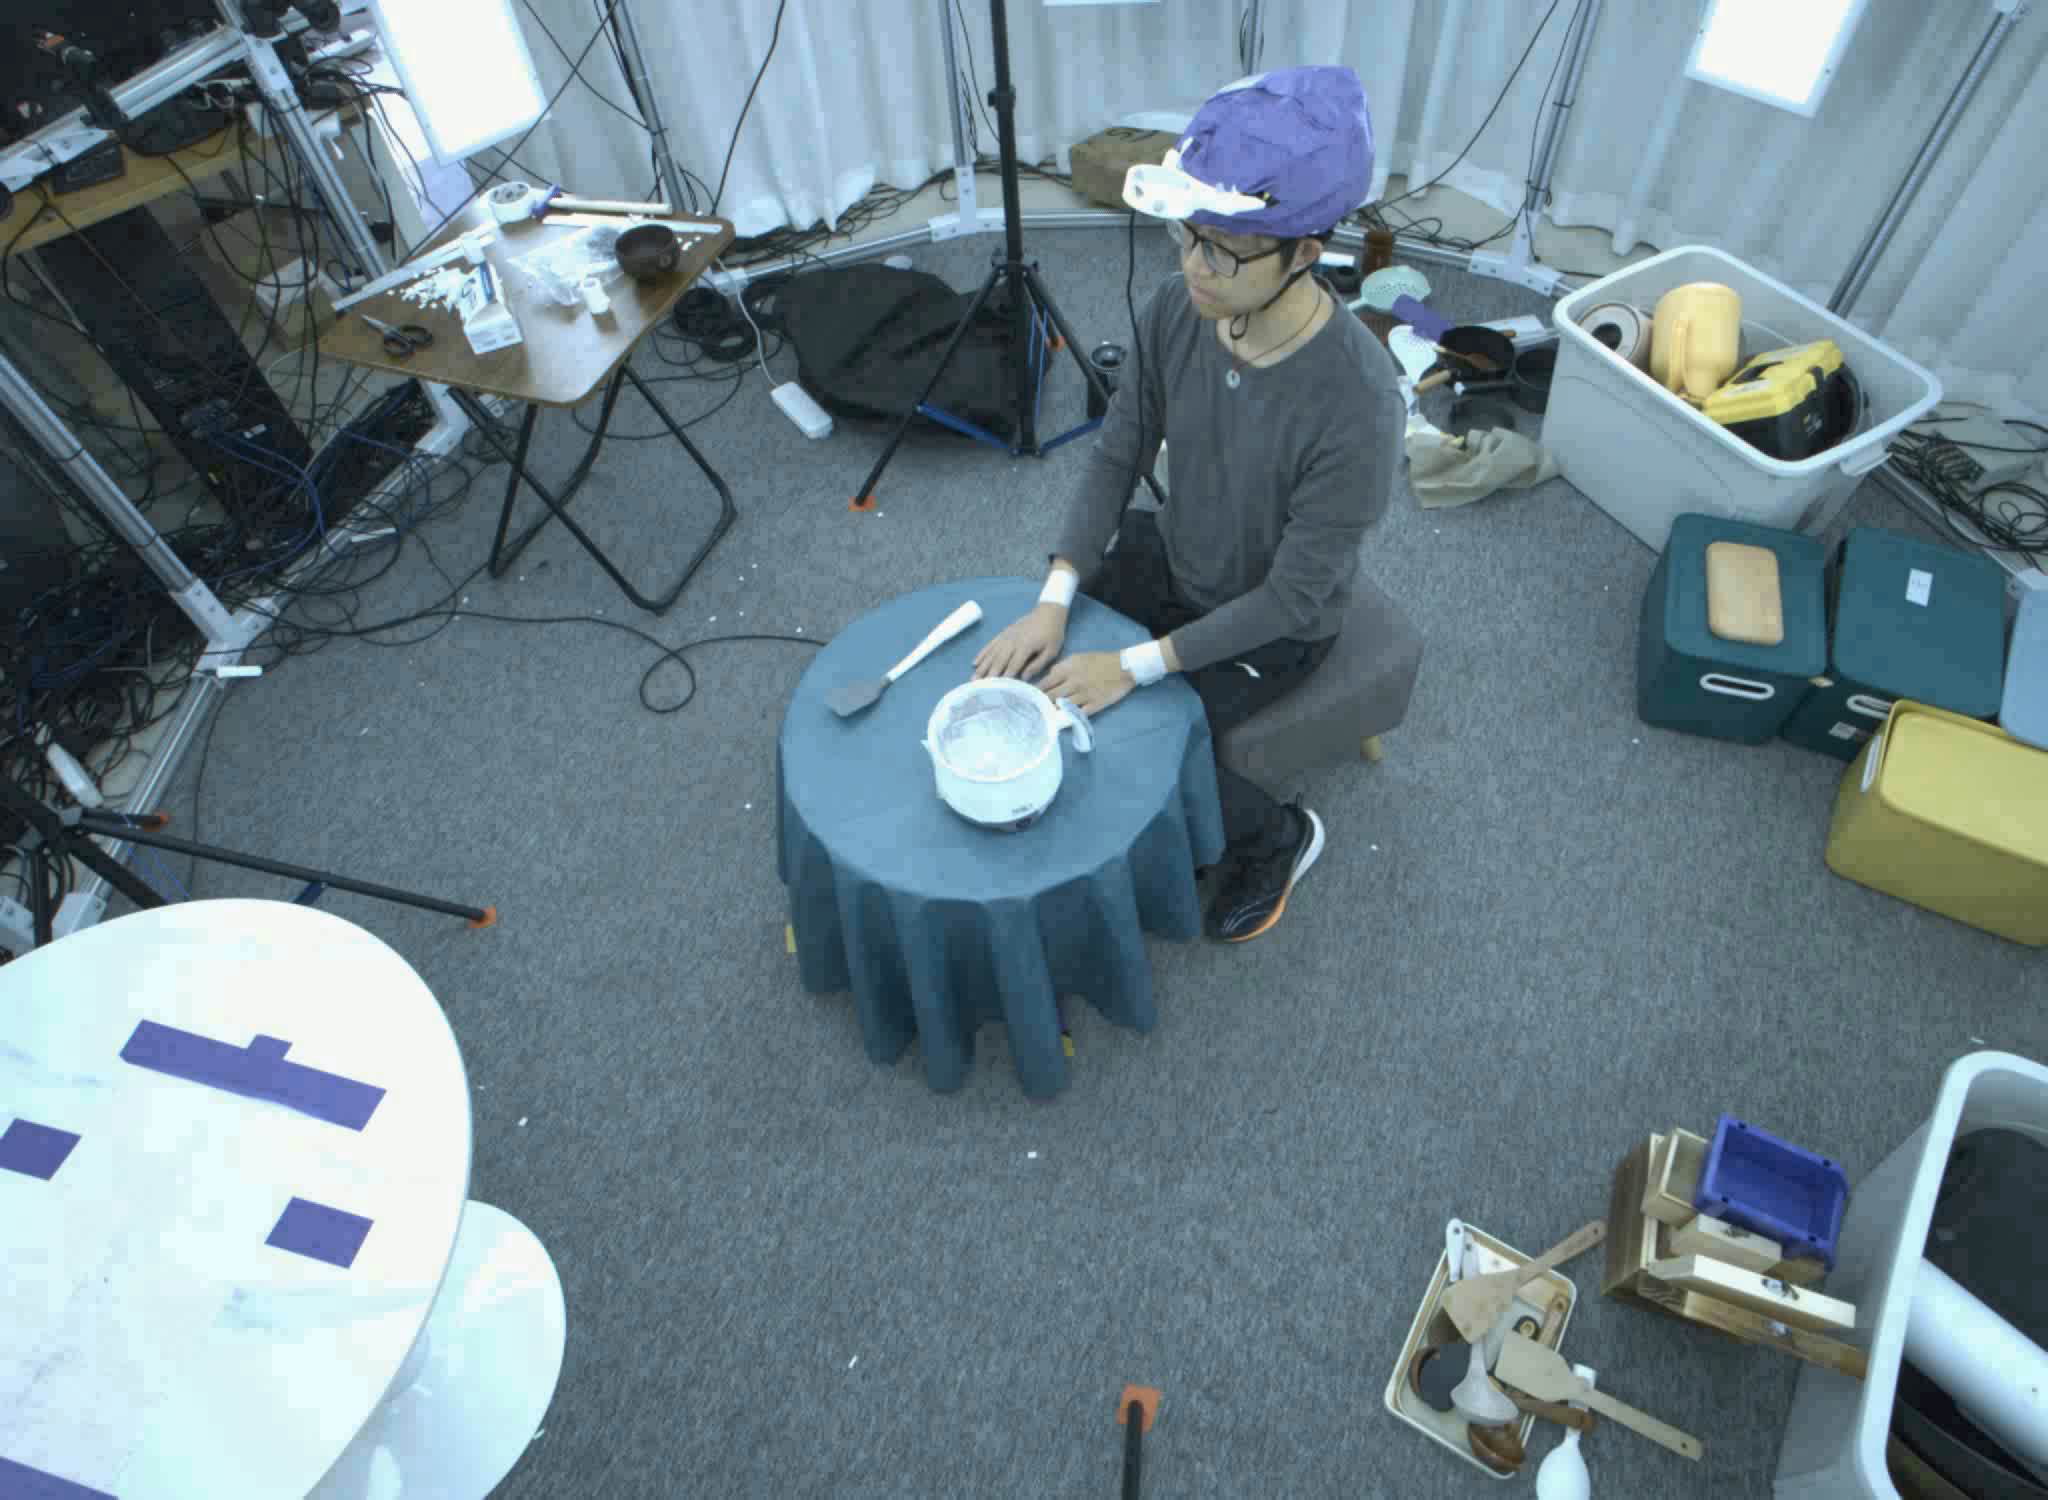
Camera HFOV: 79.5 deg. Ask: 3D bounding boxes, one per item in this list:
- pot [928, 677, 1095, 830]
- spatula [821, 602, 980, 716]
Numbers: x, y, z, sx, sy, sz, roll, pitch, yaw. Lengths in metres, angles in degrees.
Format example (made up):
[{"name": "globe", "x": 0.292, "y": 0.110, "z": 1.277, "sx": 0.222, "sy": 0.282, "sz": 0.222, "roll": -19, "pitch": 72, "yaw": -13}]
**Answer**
[{"name": "pot", "x": -0.013, "y": -0.003, "z": 1.713, "sx": 0.235, "sy": 0.138, "sz": 0.175, "roll": -22, "pitch": 57, "yaw": -13}, {"name": "spatula", "x": -0.184, "y": -0.139, "z": 1.878, "sx": 0.290, "sy": 0.032, "sz": 0.058, "roll": -38, "pitch": 65, "yaw": -23}]
